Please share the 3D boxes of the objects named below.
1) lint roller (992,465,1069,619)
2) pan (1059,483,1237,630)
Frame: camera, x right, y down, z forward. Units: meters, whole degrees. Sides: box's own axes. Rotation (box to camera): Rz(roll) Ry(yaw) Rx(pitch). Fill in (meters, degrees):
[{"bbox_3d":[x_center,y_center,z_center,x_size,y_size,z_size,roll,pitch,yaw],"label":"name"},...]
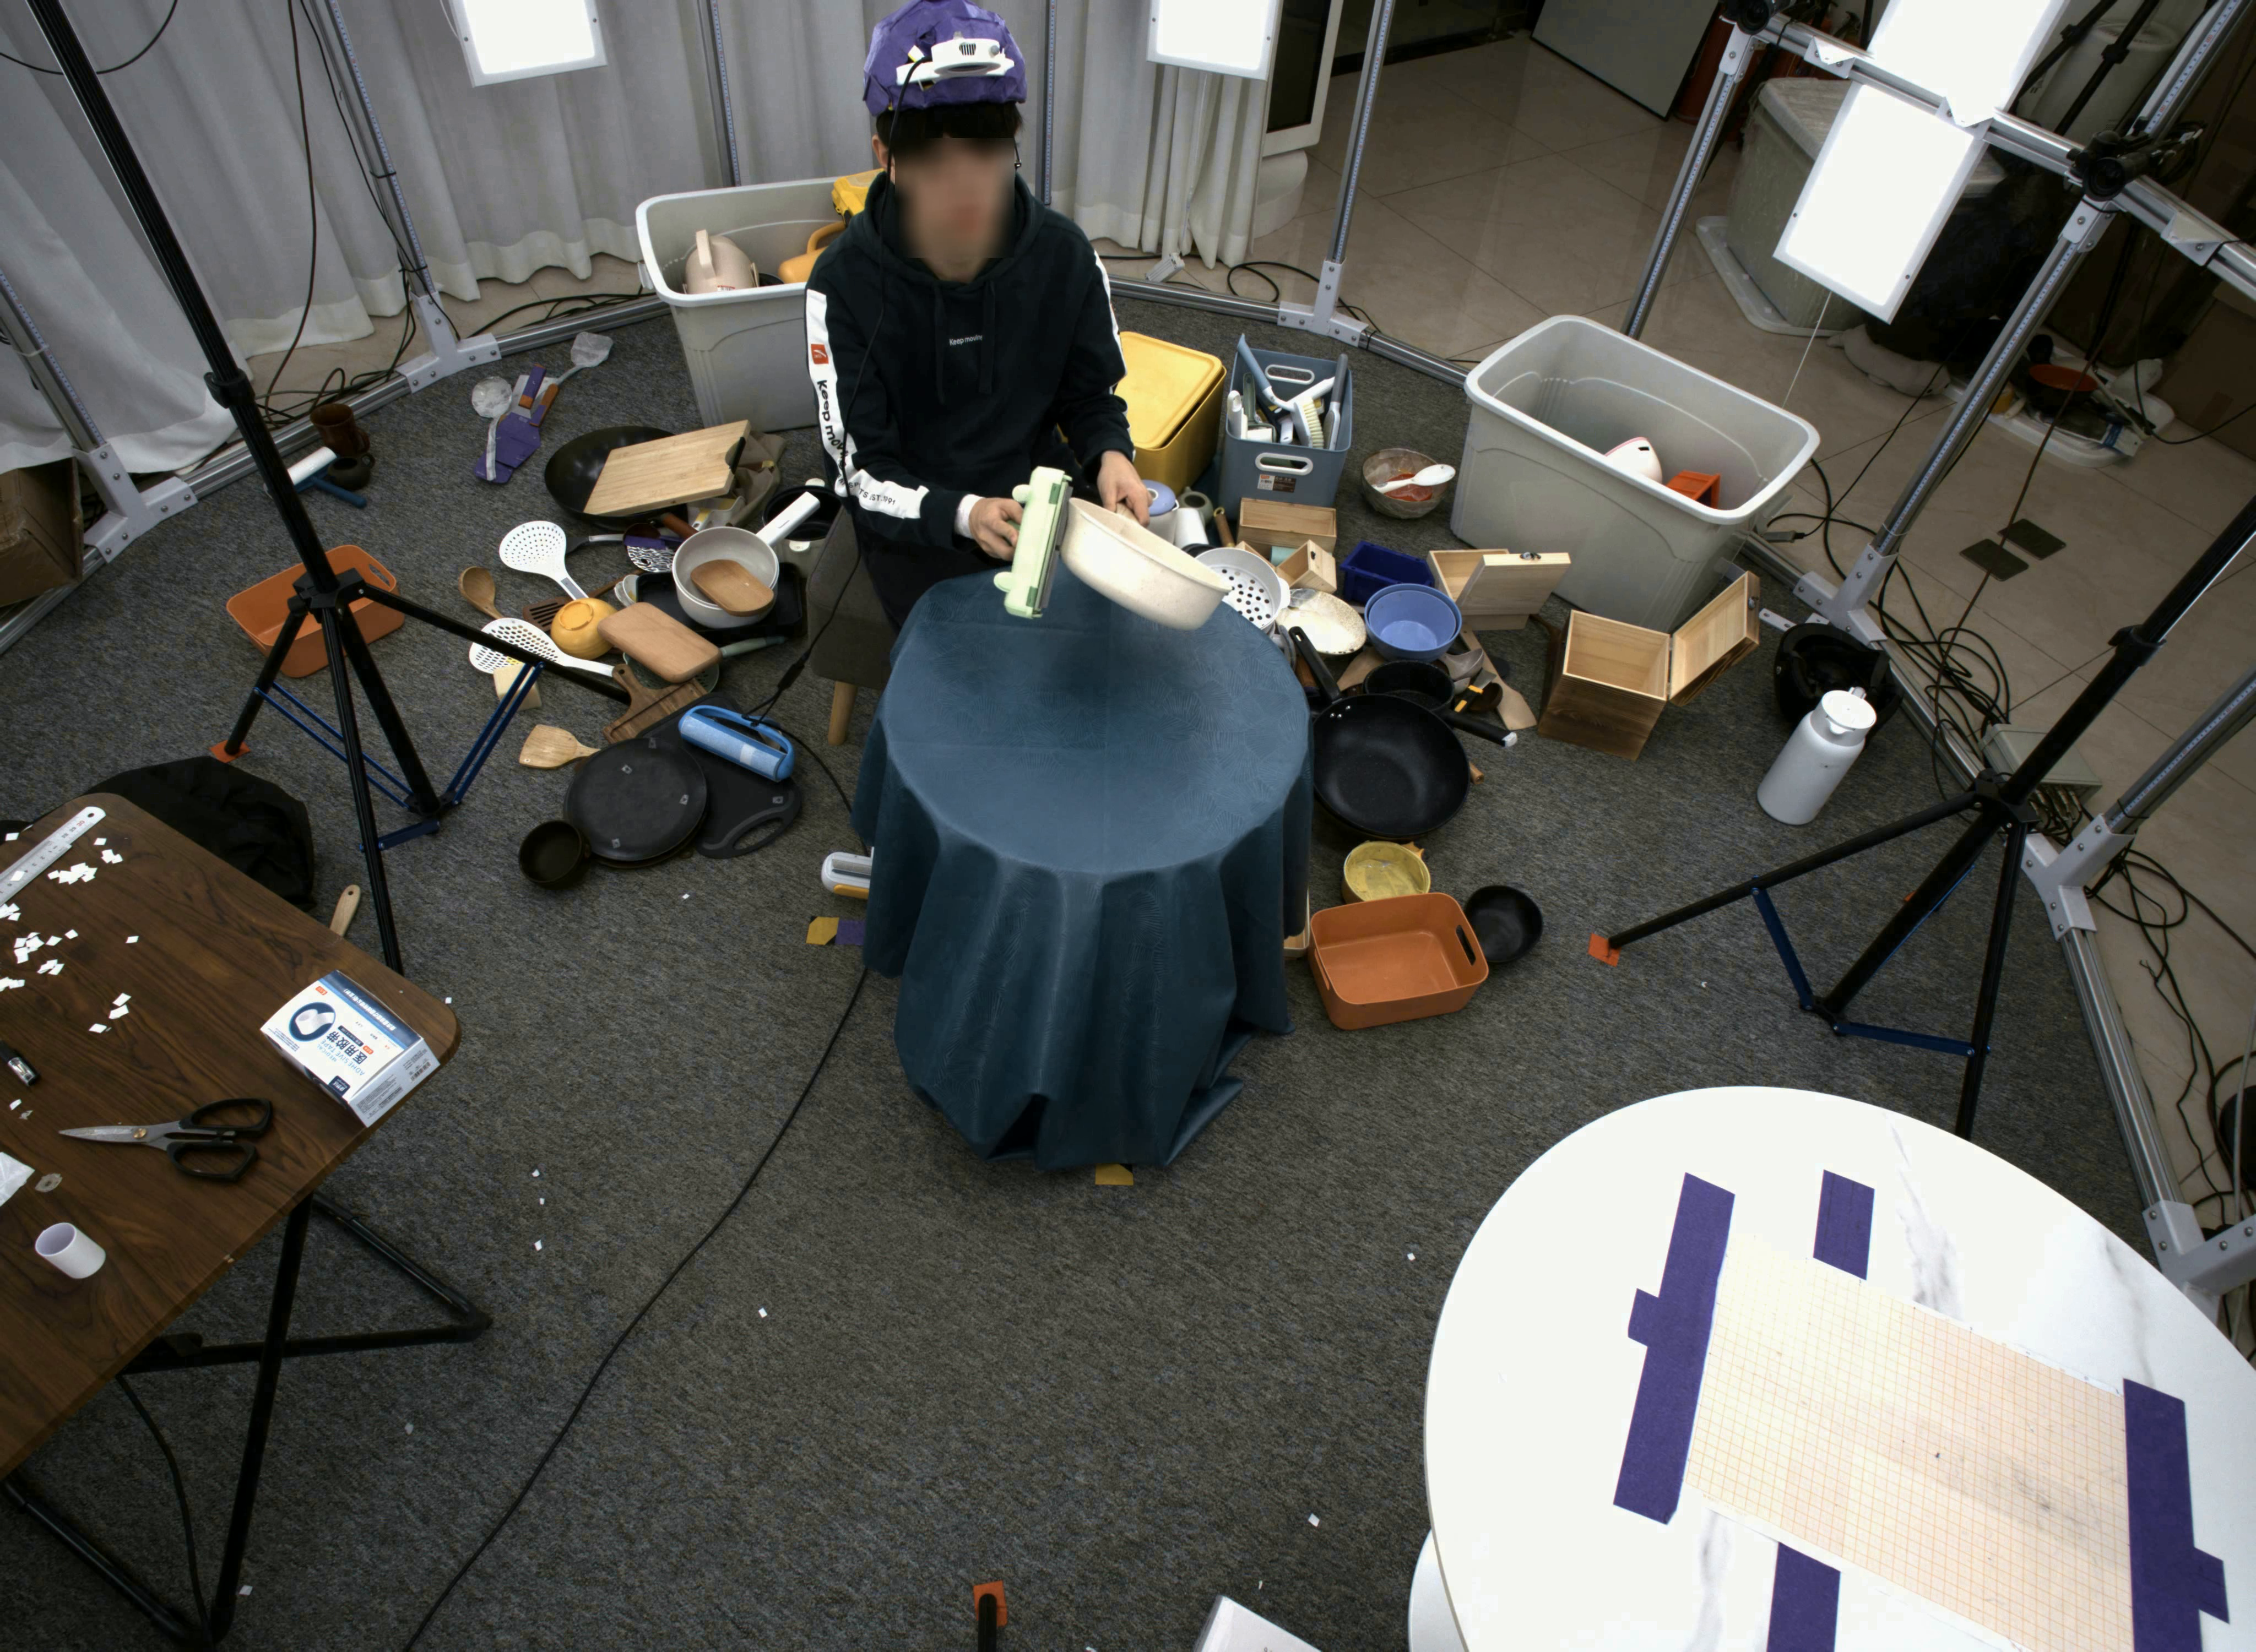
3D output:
[{"bbox_3d":[-0.157,-0.393,1.741,0.081,0.197,0.186,5,16,-37],"label":"lint roller"},{"bbox_3d":[0.002,-0.397,1.841,0.261,0.101,0.443,19,20,-21],"label":"pan"}]
